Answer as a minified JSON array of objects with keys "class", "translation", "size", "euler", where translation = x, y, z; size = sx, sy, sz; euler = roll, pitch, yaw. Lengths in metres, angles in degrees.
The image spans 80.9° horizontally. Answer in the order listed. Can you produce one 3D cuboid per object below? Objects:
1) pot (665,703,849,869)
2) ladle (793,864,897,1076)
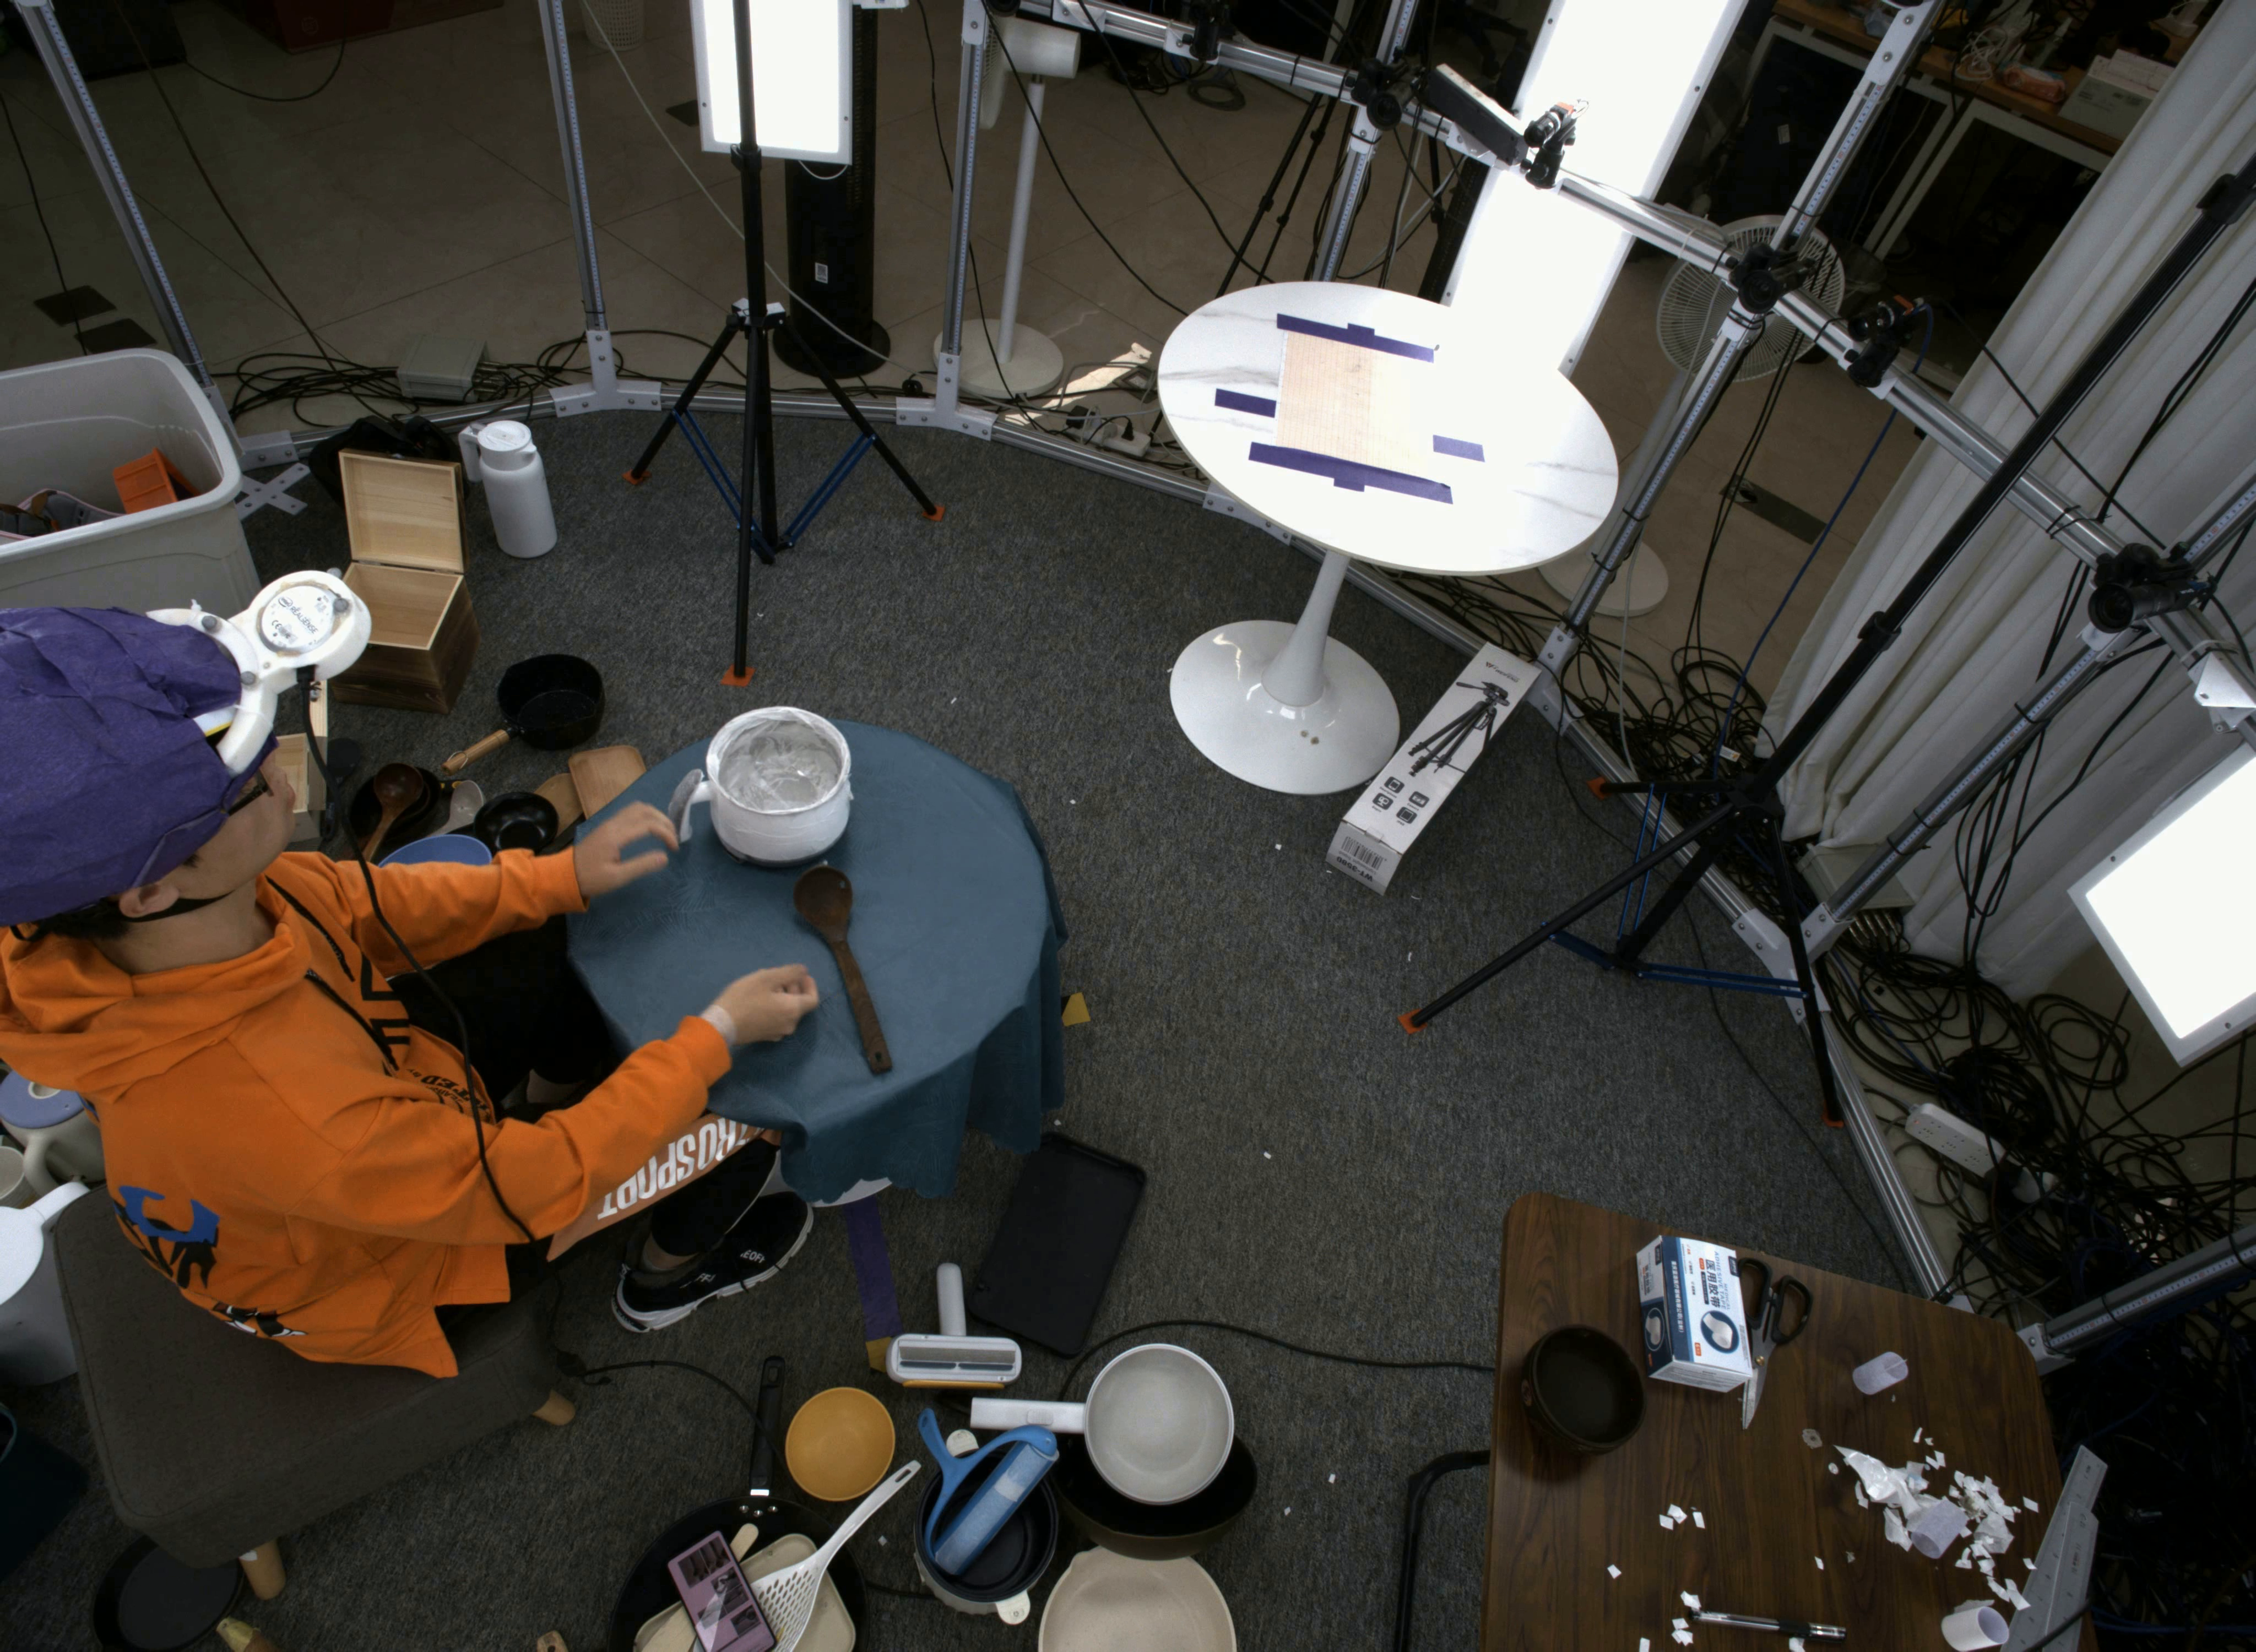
[{"class":"pot","translation":[-0.472,-0.041,1.643],"size":[0.235,0.139,0.174],"euler":[-14,57,-24]},{"class":"ladle","translation":[-0.336,0.165,1.567],"size":[0.076,0.073,0.267],"euler":[-19,59,-16]}]
